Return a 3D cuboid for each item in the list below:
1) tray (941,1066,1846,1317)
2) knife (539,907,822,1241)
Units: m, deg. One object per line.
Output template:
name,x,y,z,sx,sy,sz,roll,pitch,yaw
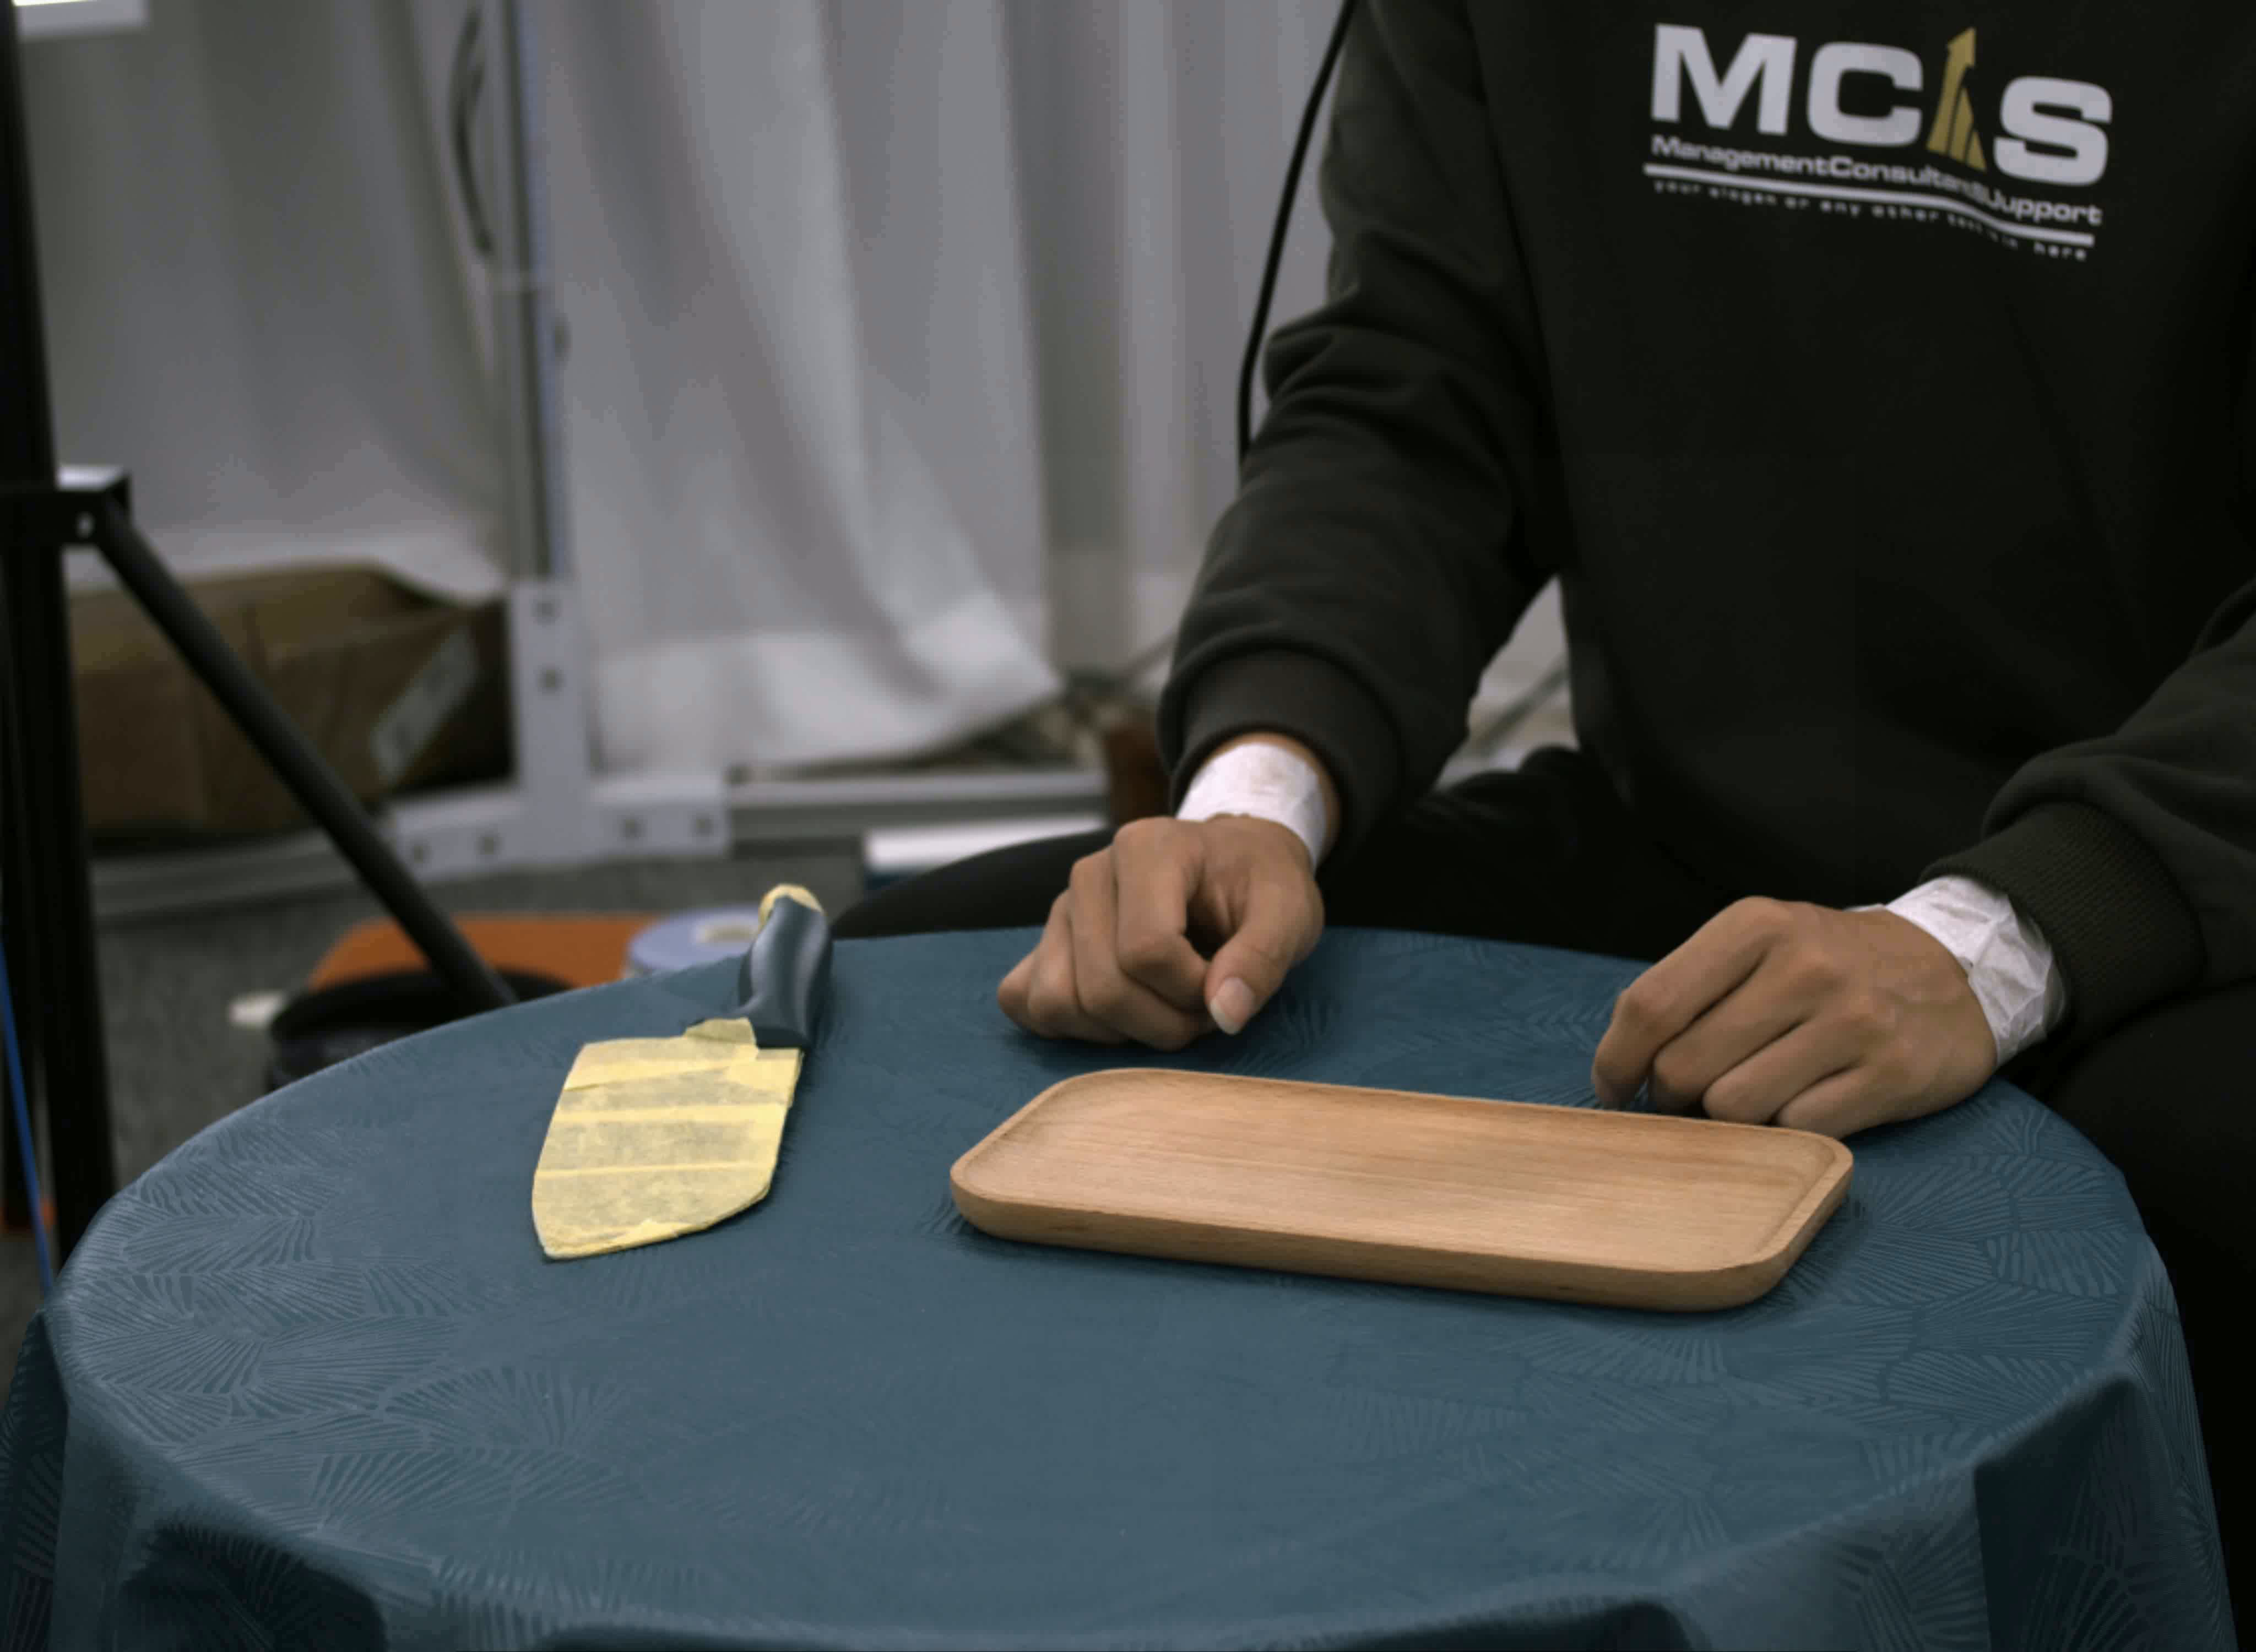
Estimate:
tray,0.077,0.105,1.532,0.254,0.023,0.128,4,14,24
knife,-0.136,0.077,1.665,0.081,0.027,0.289,1,17,5
